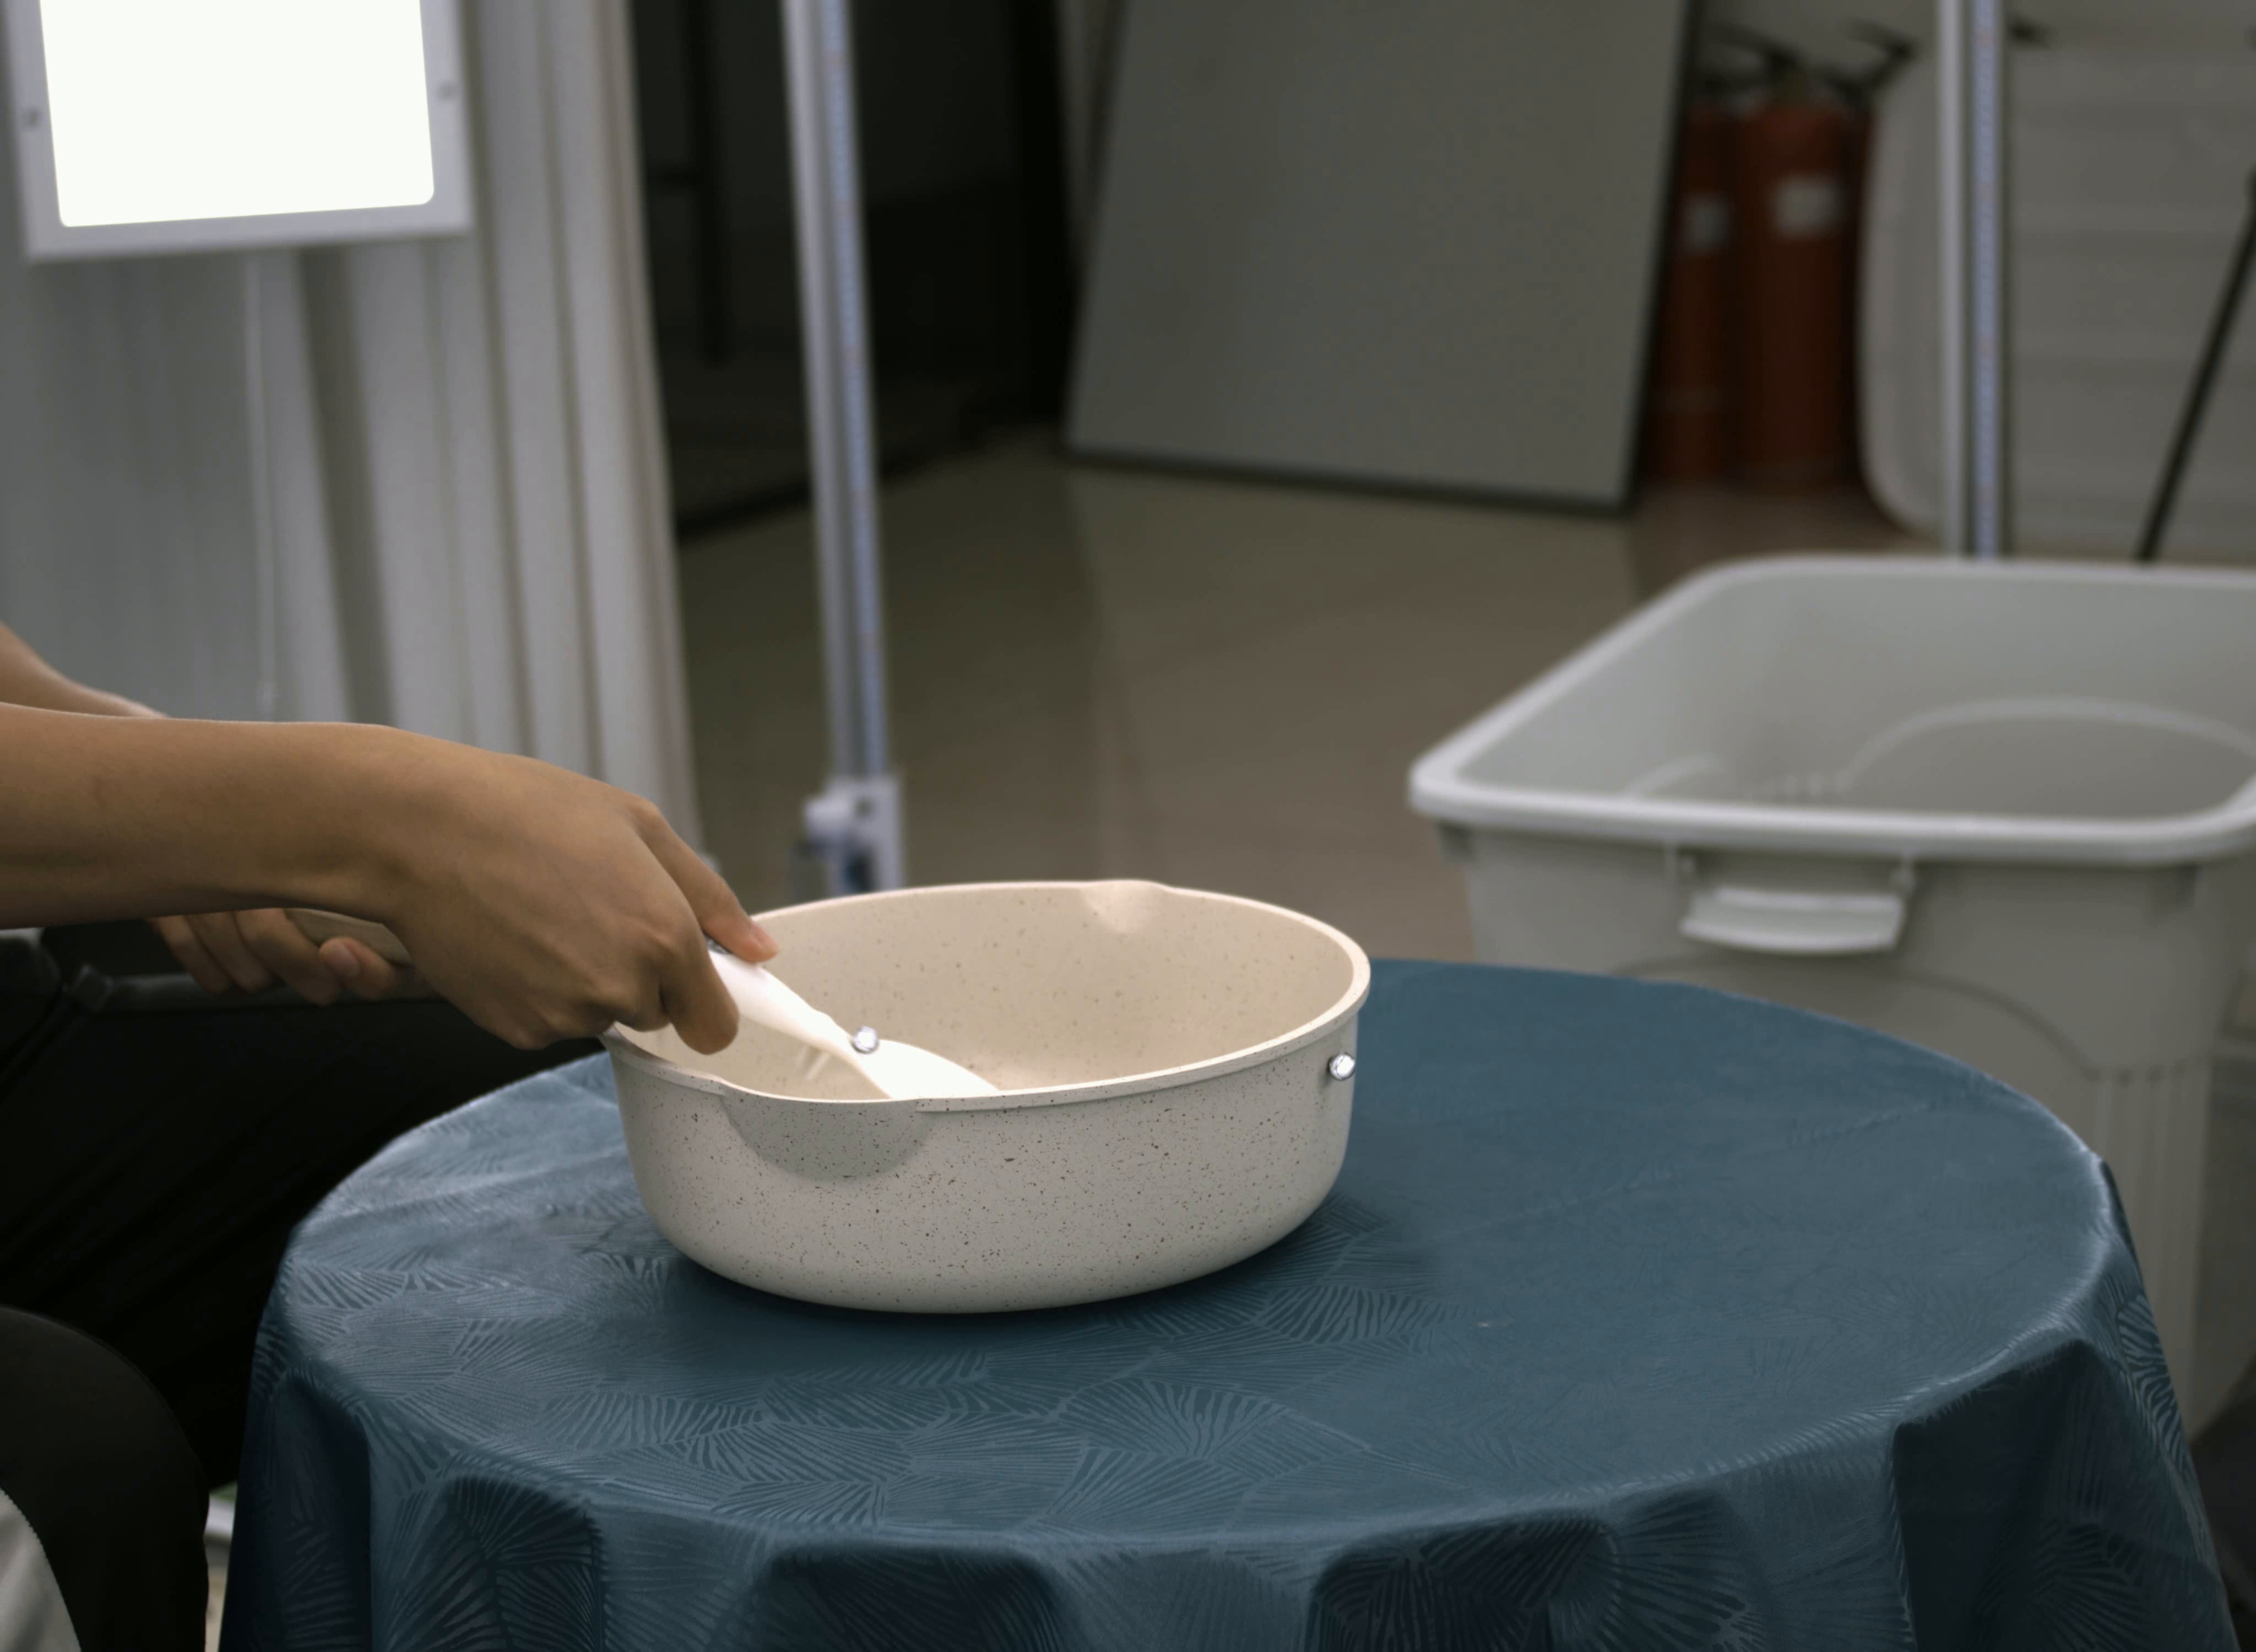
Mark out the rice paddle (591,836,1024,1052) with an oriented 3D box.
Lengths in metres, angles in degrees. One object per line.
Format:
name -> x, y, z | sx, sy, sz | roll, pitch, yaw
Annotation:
rice paddle -> -0.082, 0.059, 1.738 | 0.201, 0.029, 0.069 | 29, 16, -29

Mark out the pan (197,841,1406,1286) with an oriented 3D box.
pan -> -0.115, 0.069, 1.794 | 0.435, 0.103, 0.260 | 2, 16, 24
